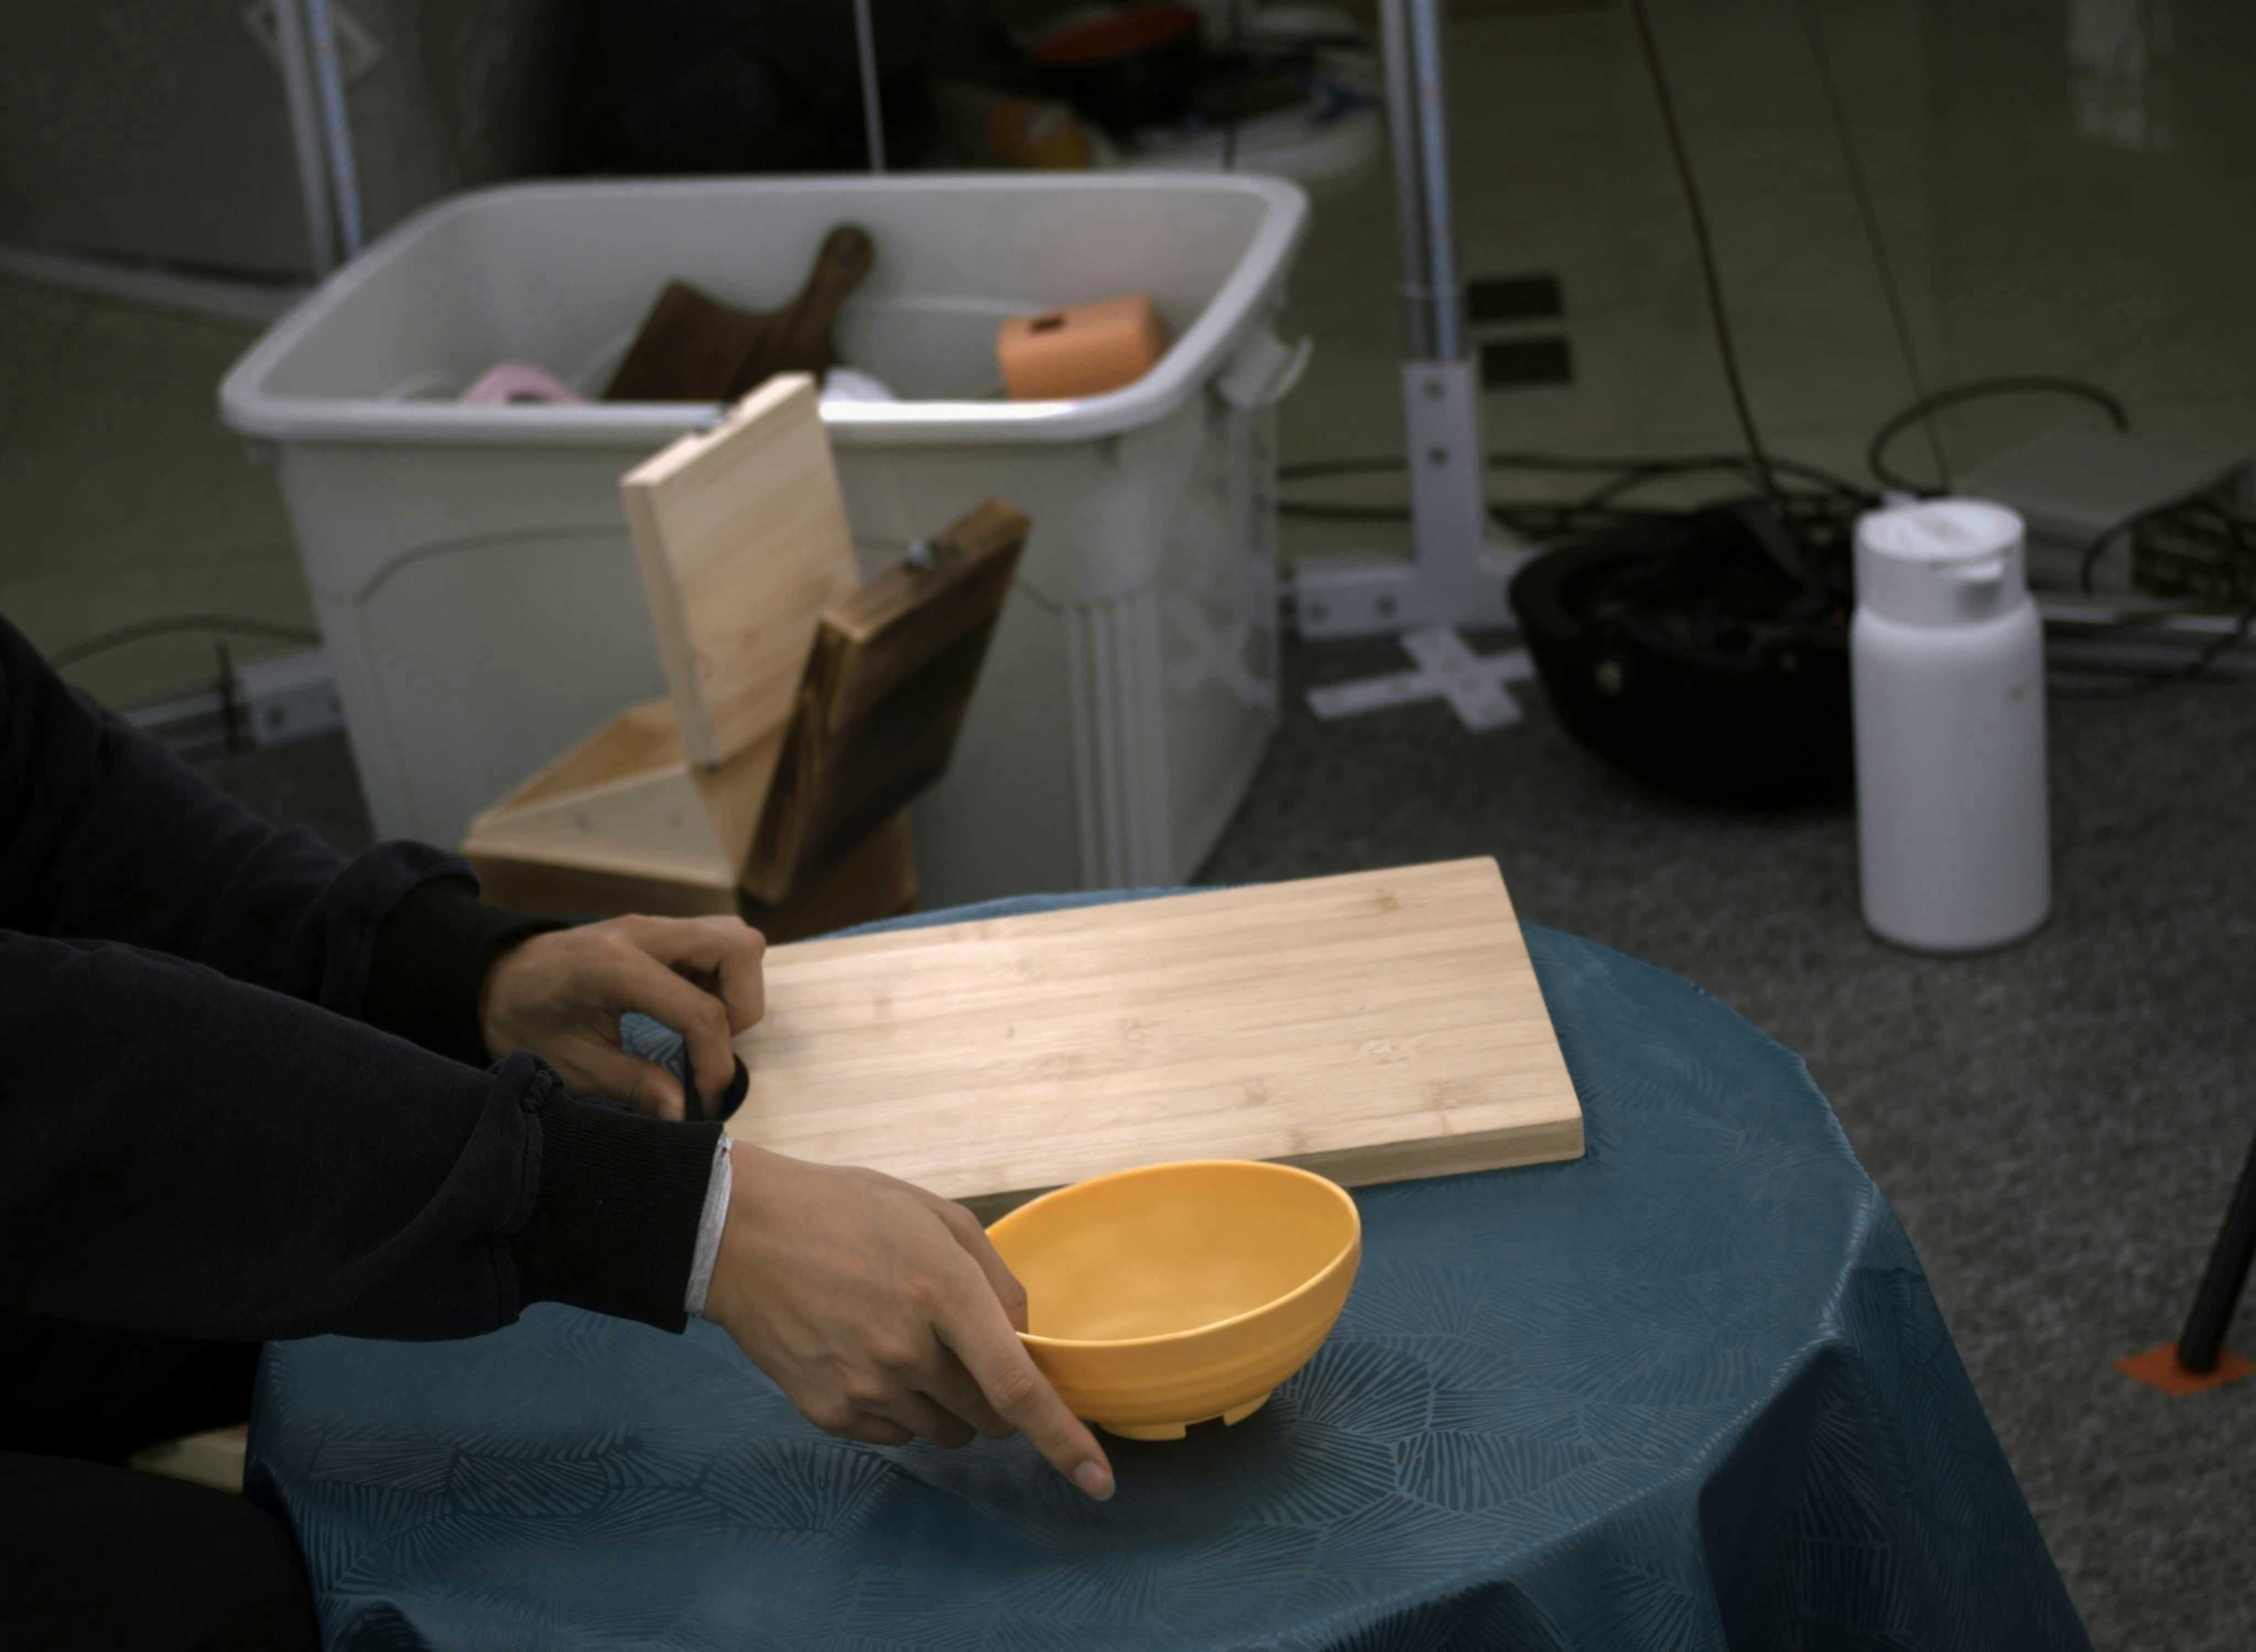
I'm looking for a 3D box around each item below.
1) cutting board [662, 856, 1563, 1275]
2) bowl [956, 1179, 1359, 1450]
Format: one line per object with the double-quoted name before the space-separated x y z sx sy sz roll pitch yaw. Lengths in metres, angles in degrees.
"cutting board" -0.011 0.092 2.238 0.348 0.024 0.247 -8 25 -2
"bowl" 0.015 0.178 1.989 0.145 0.061 0.143 -10 18 4
